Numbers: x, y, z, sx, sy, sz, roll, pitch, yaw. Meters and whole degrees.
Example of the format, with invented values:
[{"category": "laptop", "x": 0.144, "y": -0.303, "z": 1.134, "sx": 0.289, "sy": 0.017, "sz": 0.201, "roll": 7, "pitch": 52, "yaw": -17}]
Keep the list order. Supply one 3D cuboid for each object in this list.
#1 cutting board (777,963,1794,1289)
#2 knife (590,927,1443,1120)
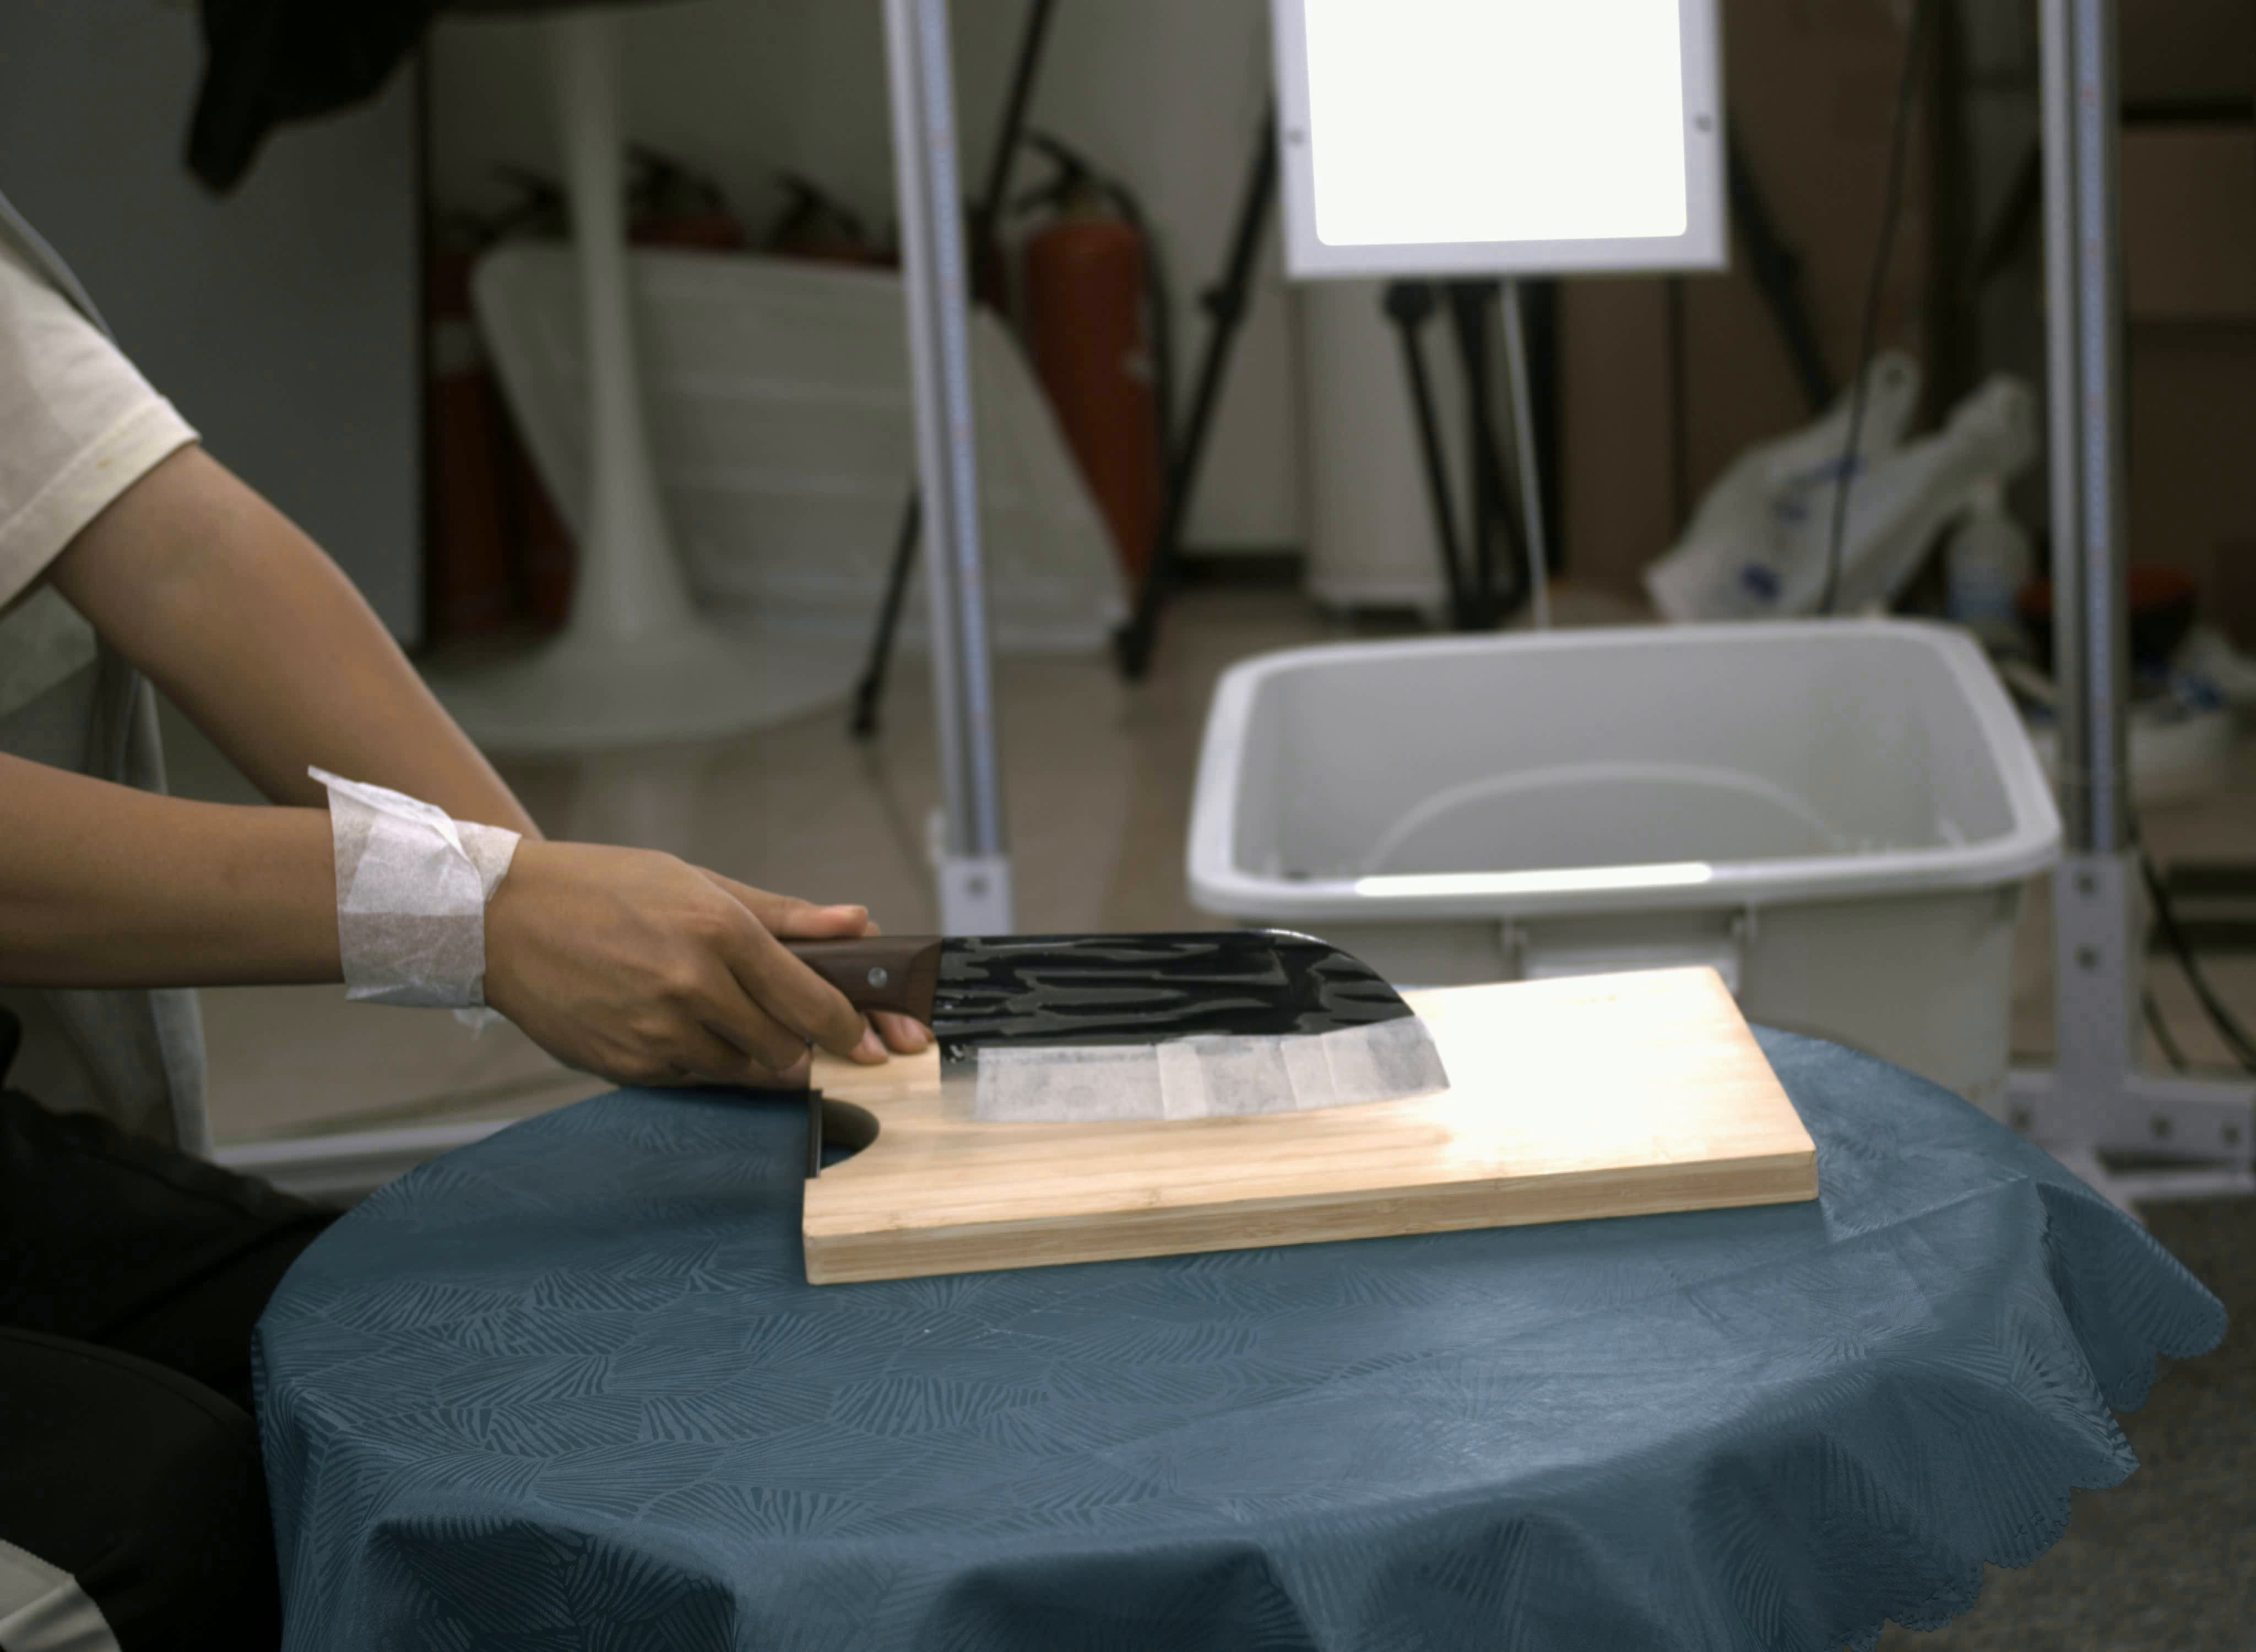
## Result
[{"category": "cutting board", "x": 0.051, "y": 0.104, "z": 1.939, "sx": 0.347, "sy": 0.023, "sz": 0.250, "roll": -5, "pitch": 13, "yaw": 0}, {"category": "knife", "x": -0.040, "y": 0.069, "z": 1.915, "sx": 0.301, "sy": 0.068, "sz": 0.024, "roll": 0, "pitch": 8, "yaw": 9}]
